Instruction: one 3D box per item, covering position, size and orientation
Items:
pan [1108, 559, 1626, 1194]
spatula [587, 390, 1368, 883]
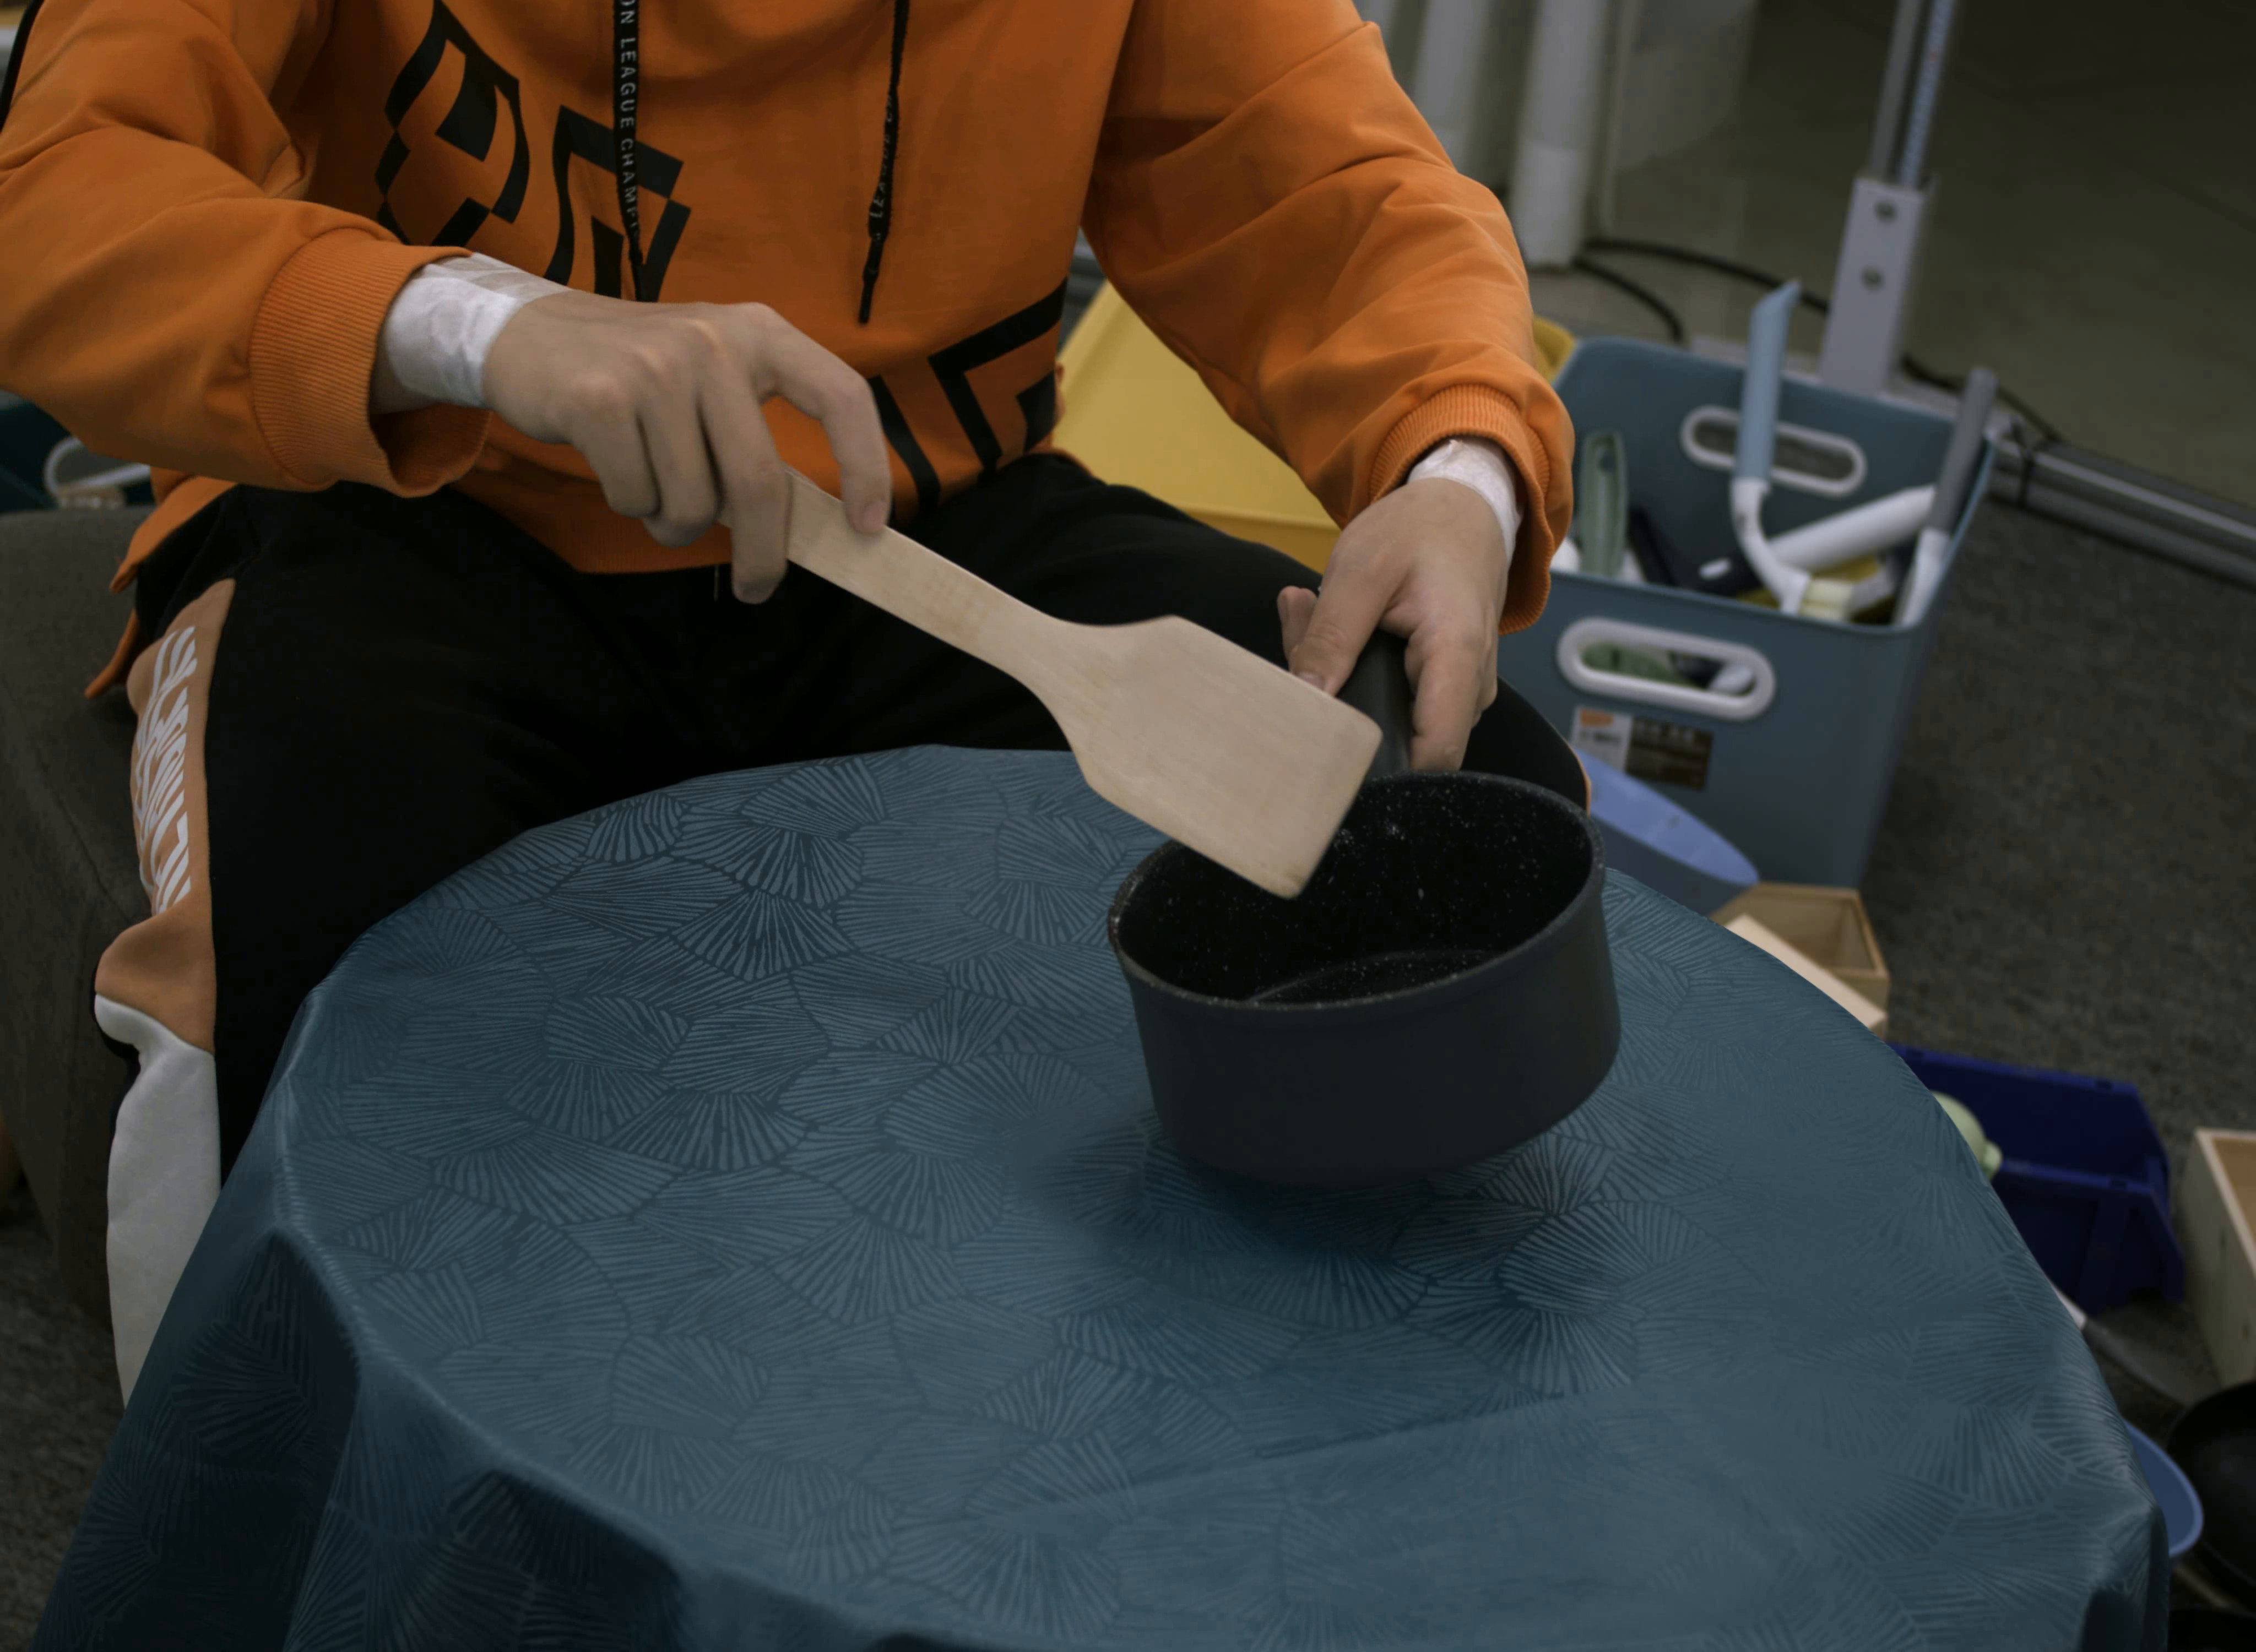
[{"bbox_3d":[0.090,0.014,1.883,0.172,0.086,0.330,-6,27,9],"label":"pan"},{"bbox_3d":[-0.058,-0.077,1.841,0.293,0.072,0.010,28,9,8],"label":"spatula"}]
